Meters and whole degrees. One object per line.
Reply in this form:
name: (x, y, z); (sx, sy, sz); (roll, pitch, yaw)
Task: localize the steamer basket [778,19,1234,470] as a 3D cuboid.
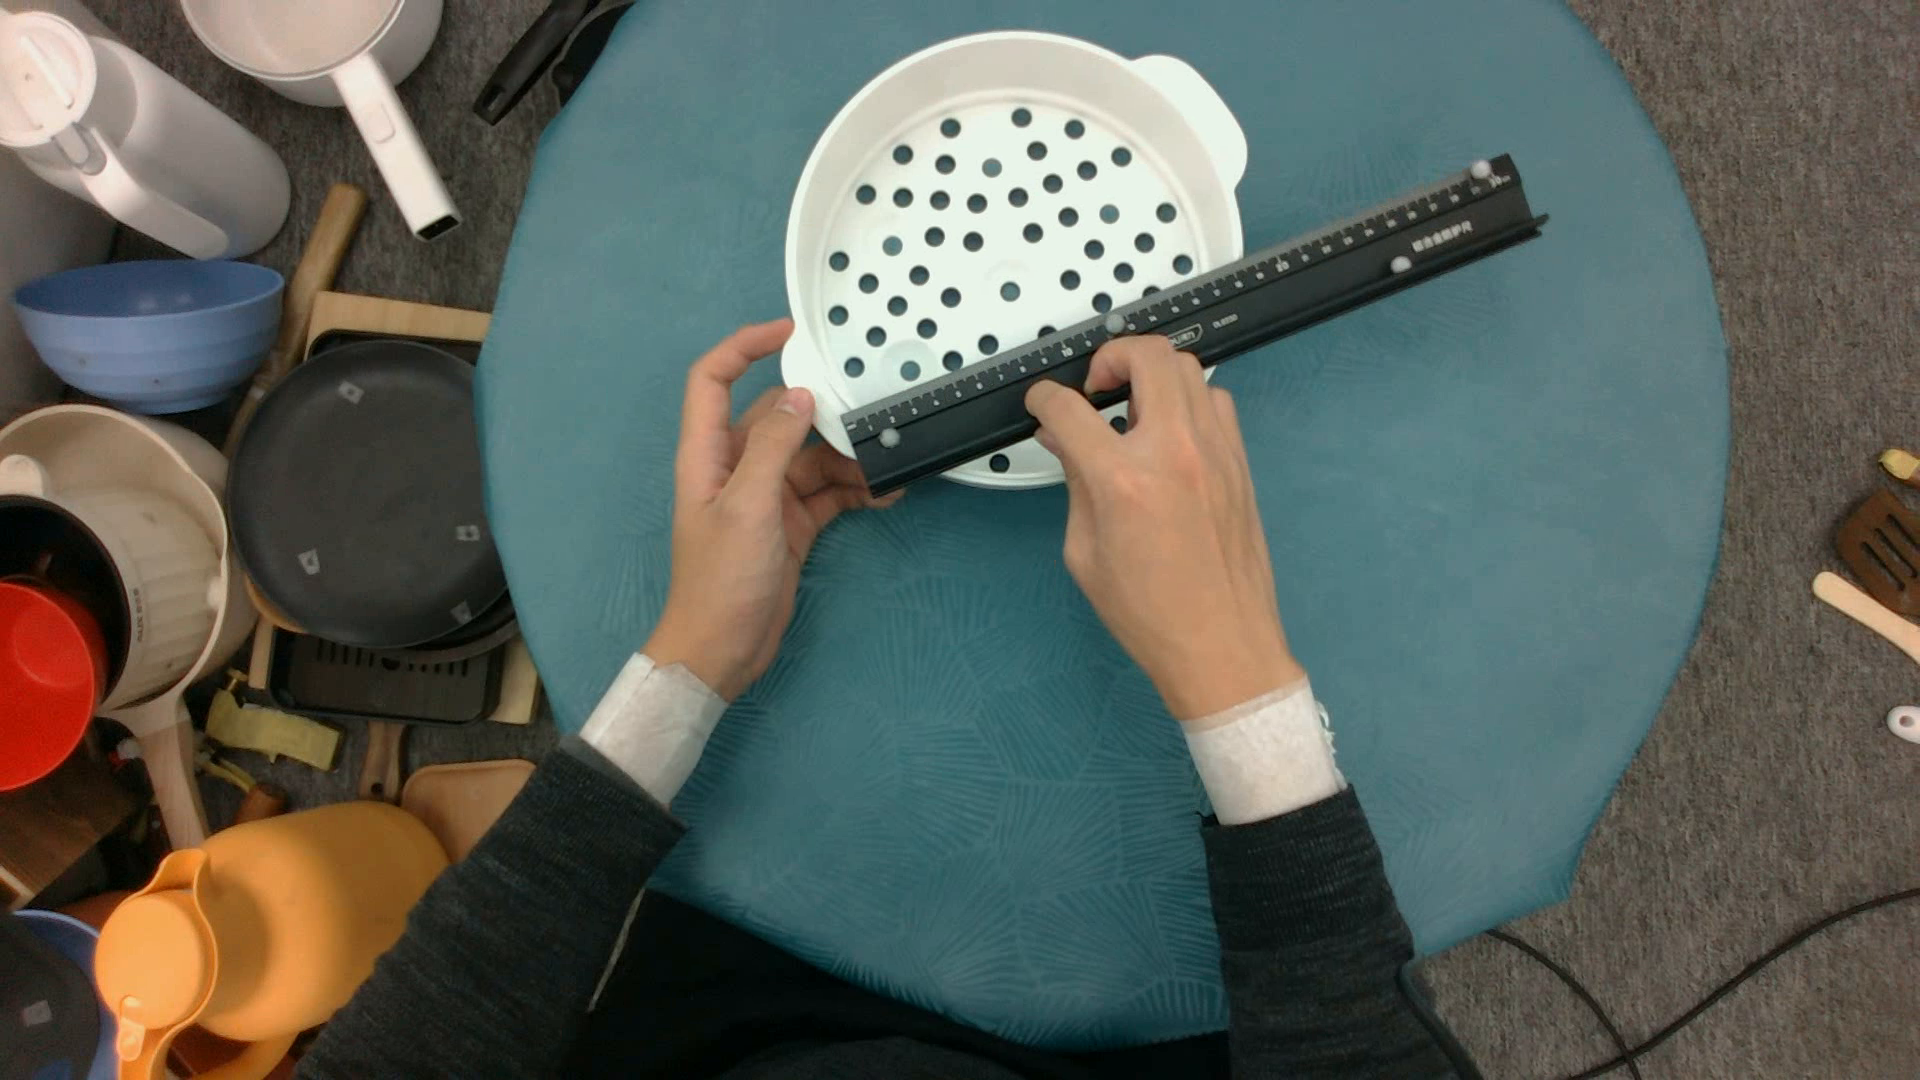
steamer basket: (0.021, -0.131, 0.635); (0.231, 0.069, 0.202); (-40, 87, -5)

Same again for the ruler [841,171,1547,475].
ruler: (0.103, -0.095, 0.584); (0.313, 0.017, 0.039); (-19, 94, -5)
